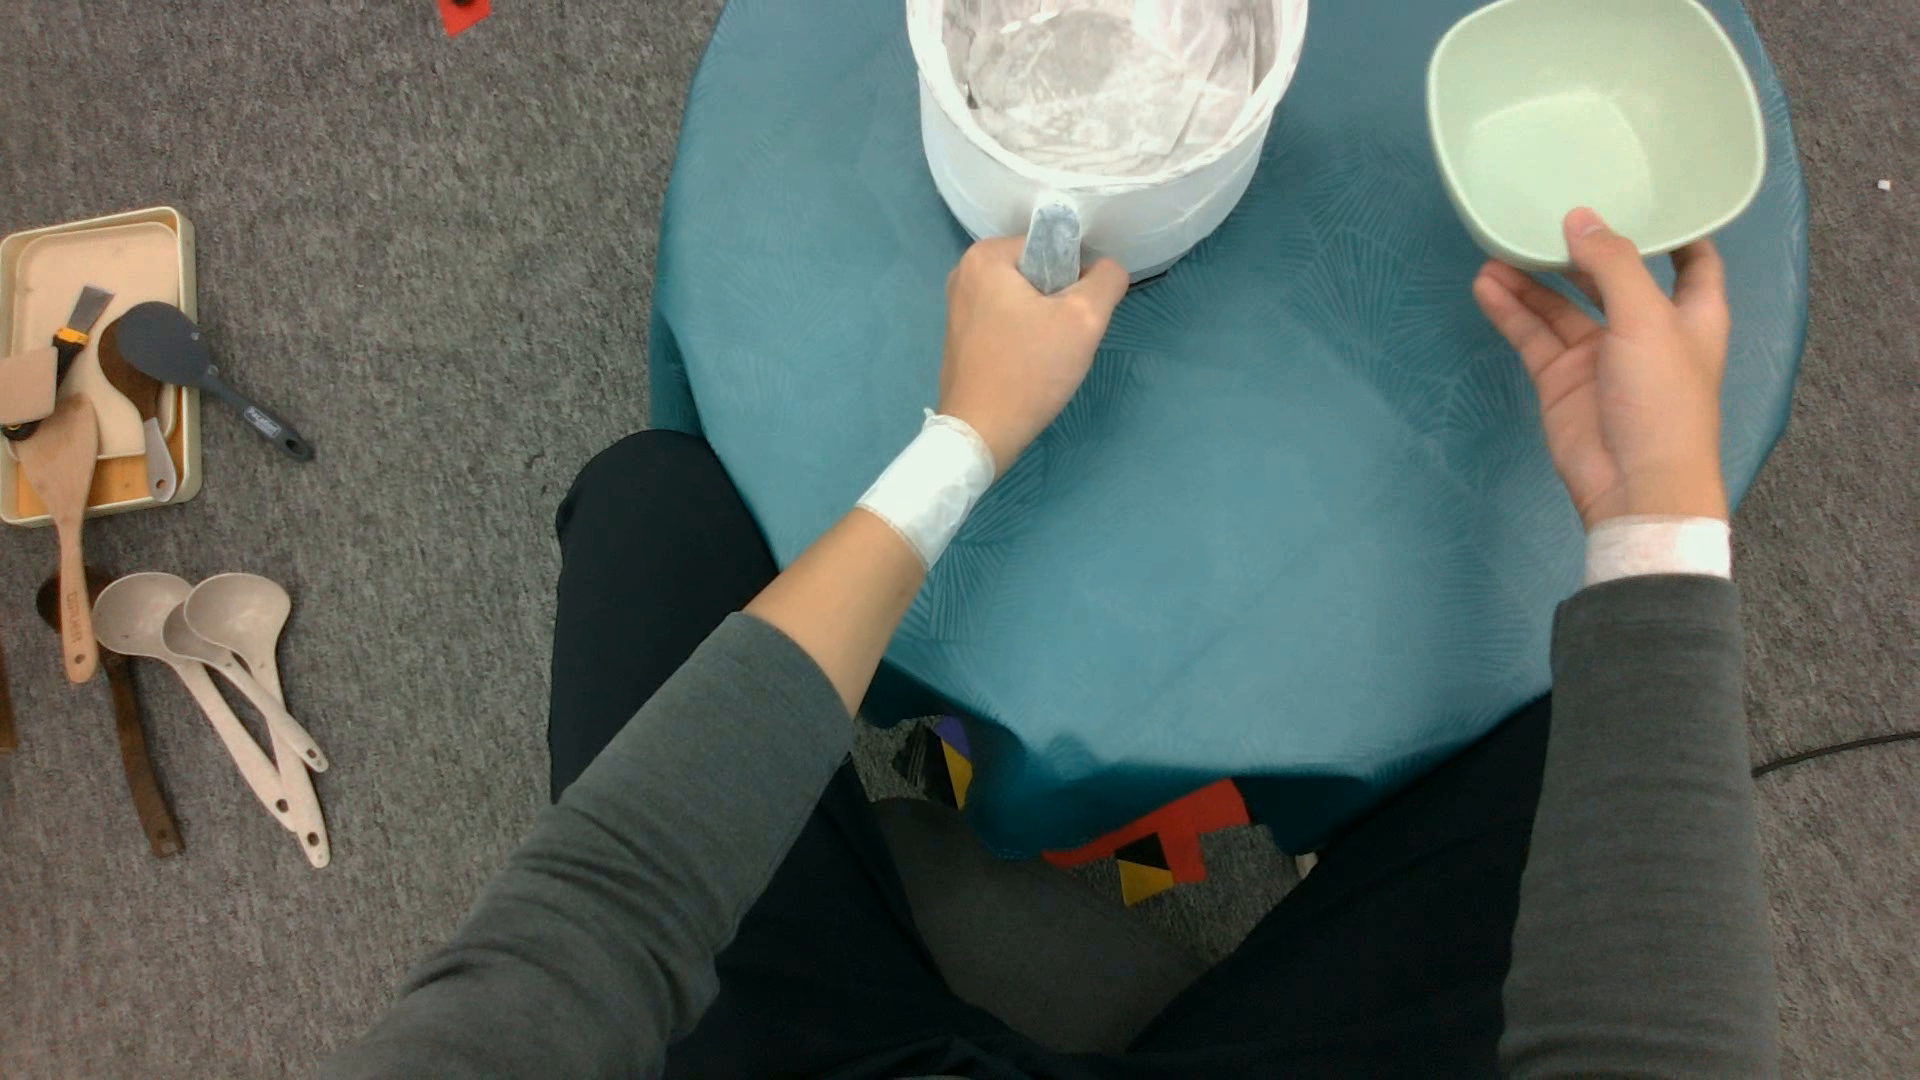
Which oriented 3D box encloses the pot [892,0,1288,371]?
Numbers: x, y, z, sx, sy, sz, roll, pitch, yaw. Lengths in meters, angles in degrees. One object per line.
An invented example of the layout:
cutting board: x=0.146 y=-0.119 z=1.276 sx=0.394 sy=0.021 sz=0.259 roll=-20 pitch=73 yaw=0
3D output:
pot: x=0.054 y=-0.204 z=0.671 sx=0.178 sy=0.136 sz=0.234 roll=11 pitch=79 yaw=4

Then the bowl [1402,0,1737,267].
bowl: x=0.274 y=-0.183 z=0.642 sx=0.151 sy=0.058 sz=0.152 roll=-1 pitch=73 yaw=5
